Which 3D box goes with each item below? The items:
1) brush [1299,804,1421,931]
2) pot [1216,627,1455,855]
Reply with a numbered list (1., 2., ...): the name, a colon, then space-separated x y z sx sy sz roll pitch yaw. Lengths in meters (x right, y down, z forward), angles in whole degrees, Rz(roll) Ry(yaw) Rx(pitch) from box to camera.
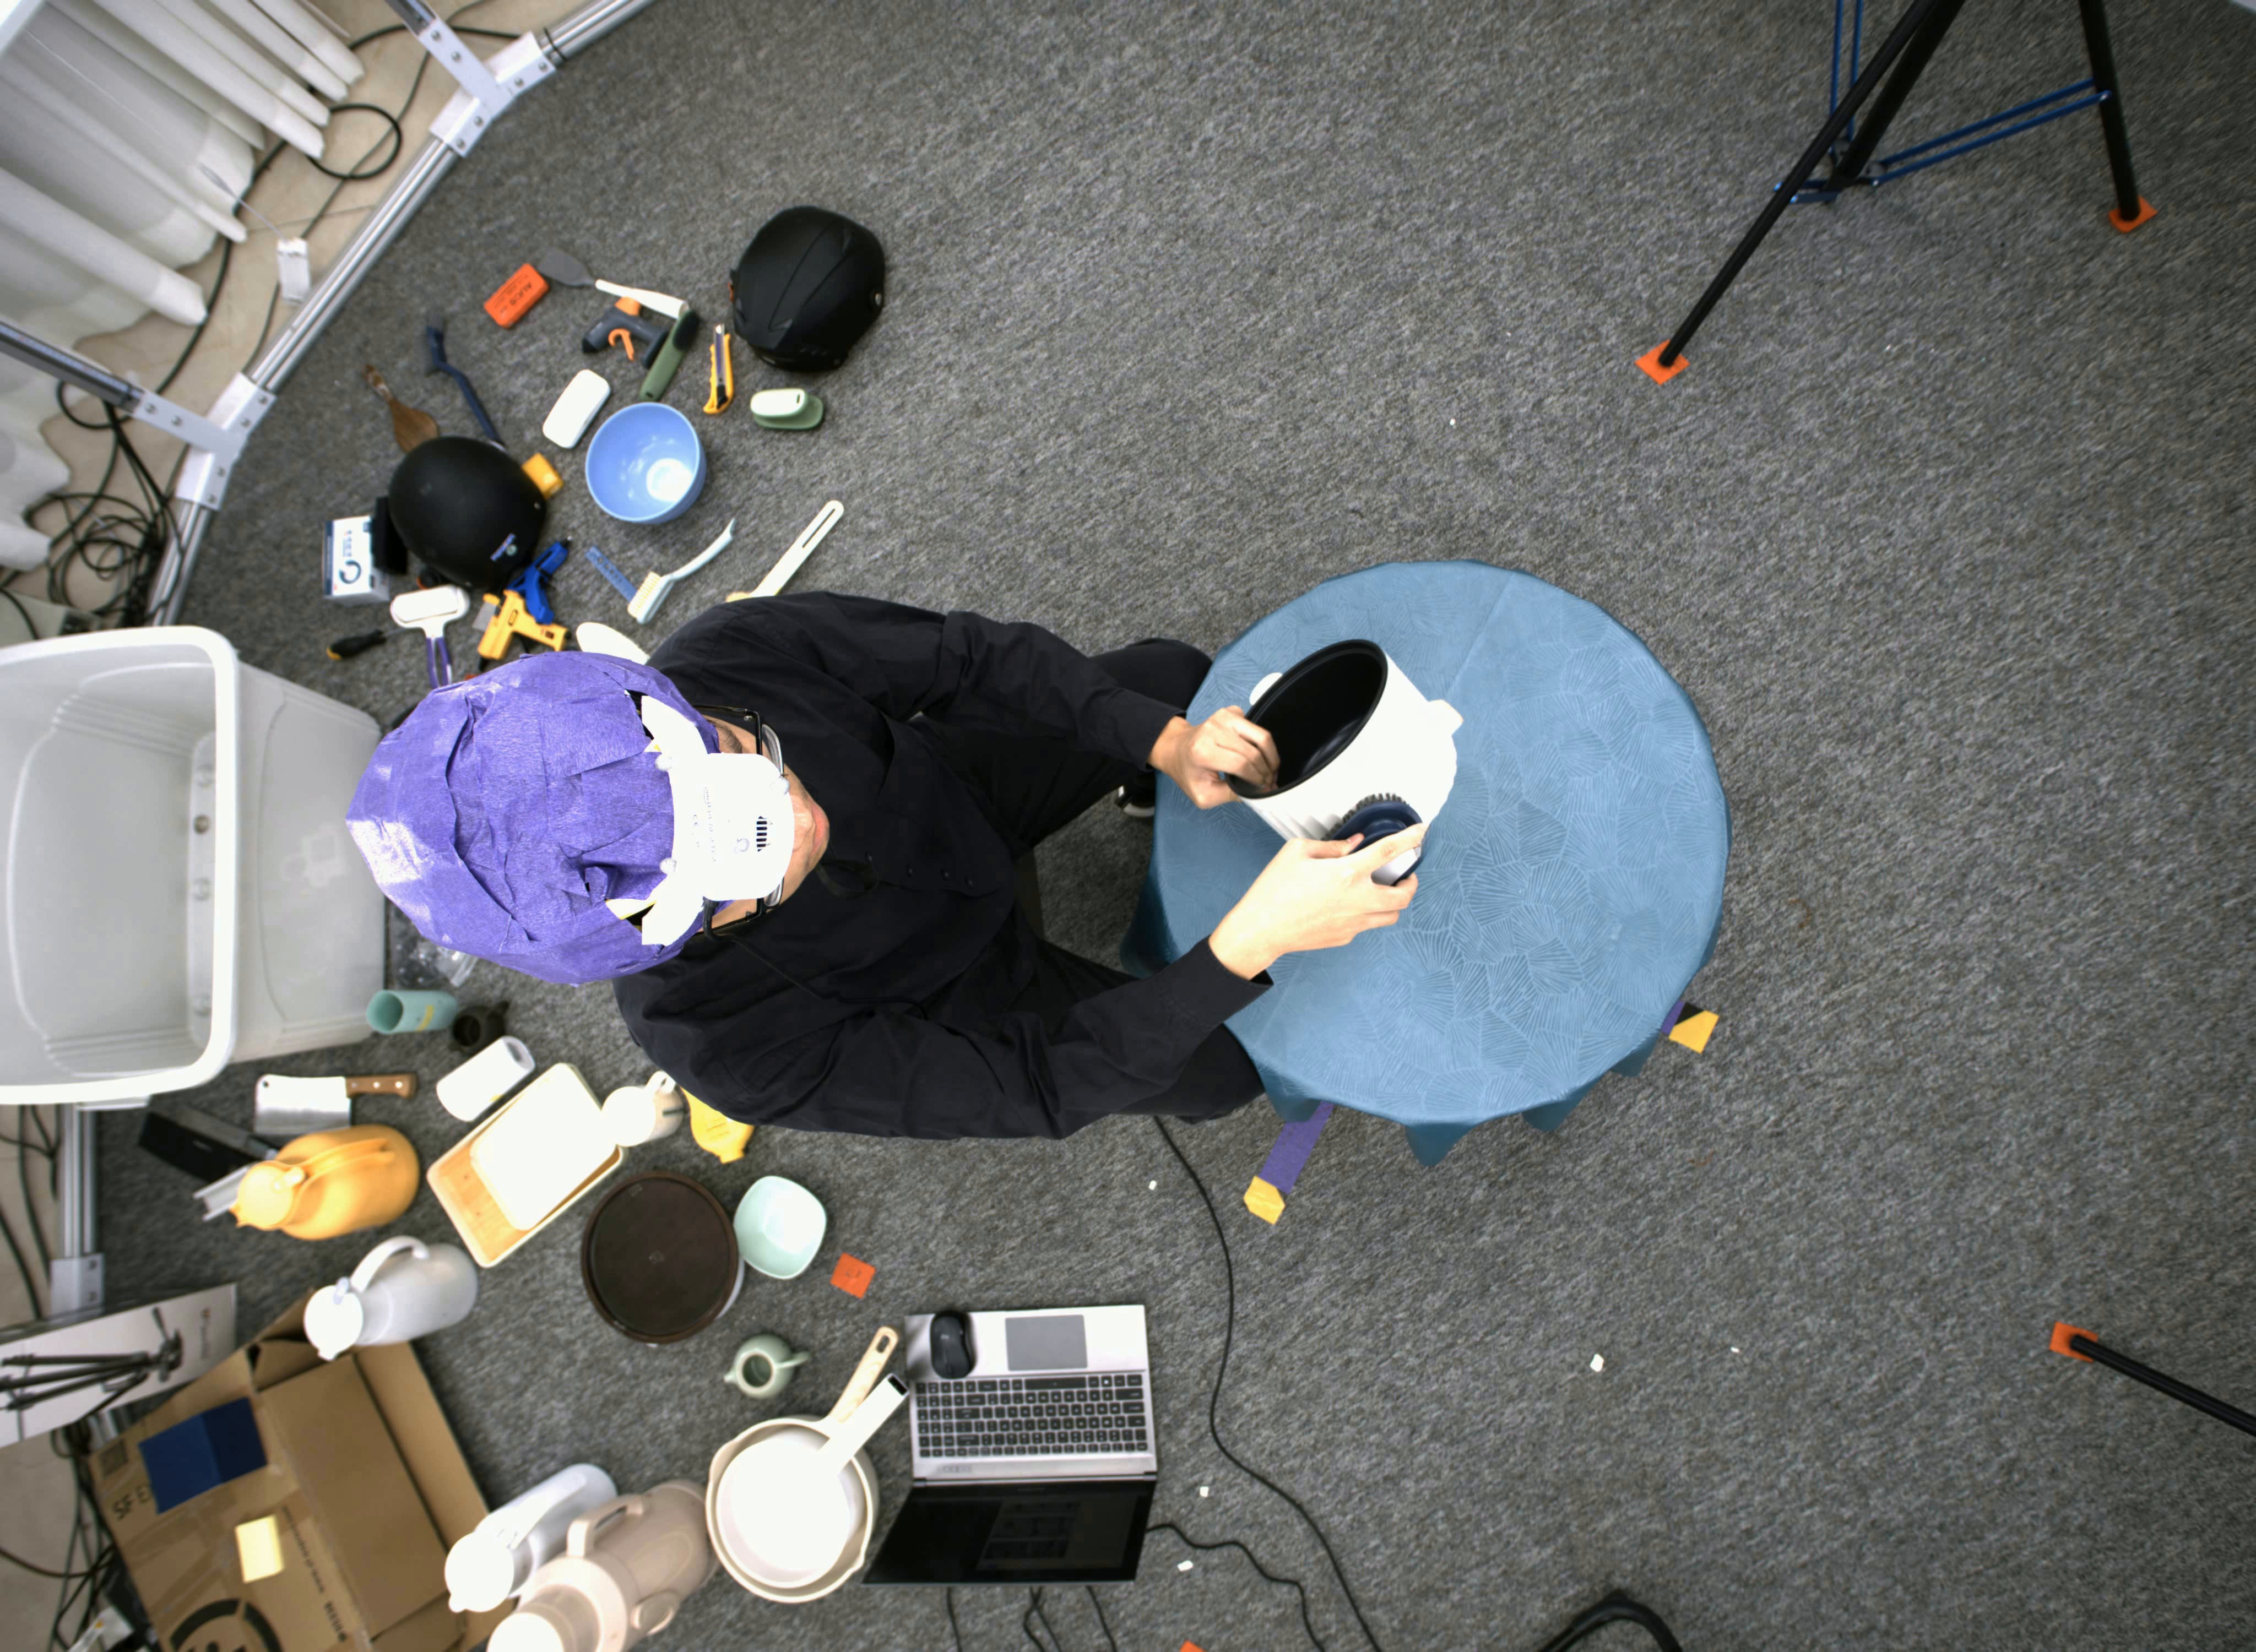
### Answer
1. brush: 0.198 0.033 1.181 0.068 0.059 0.124 30 123 -26
2. pot: 0.197 -0.075 1.254 0.144 0.237 0.191 38 97 -27
